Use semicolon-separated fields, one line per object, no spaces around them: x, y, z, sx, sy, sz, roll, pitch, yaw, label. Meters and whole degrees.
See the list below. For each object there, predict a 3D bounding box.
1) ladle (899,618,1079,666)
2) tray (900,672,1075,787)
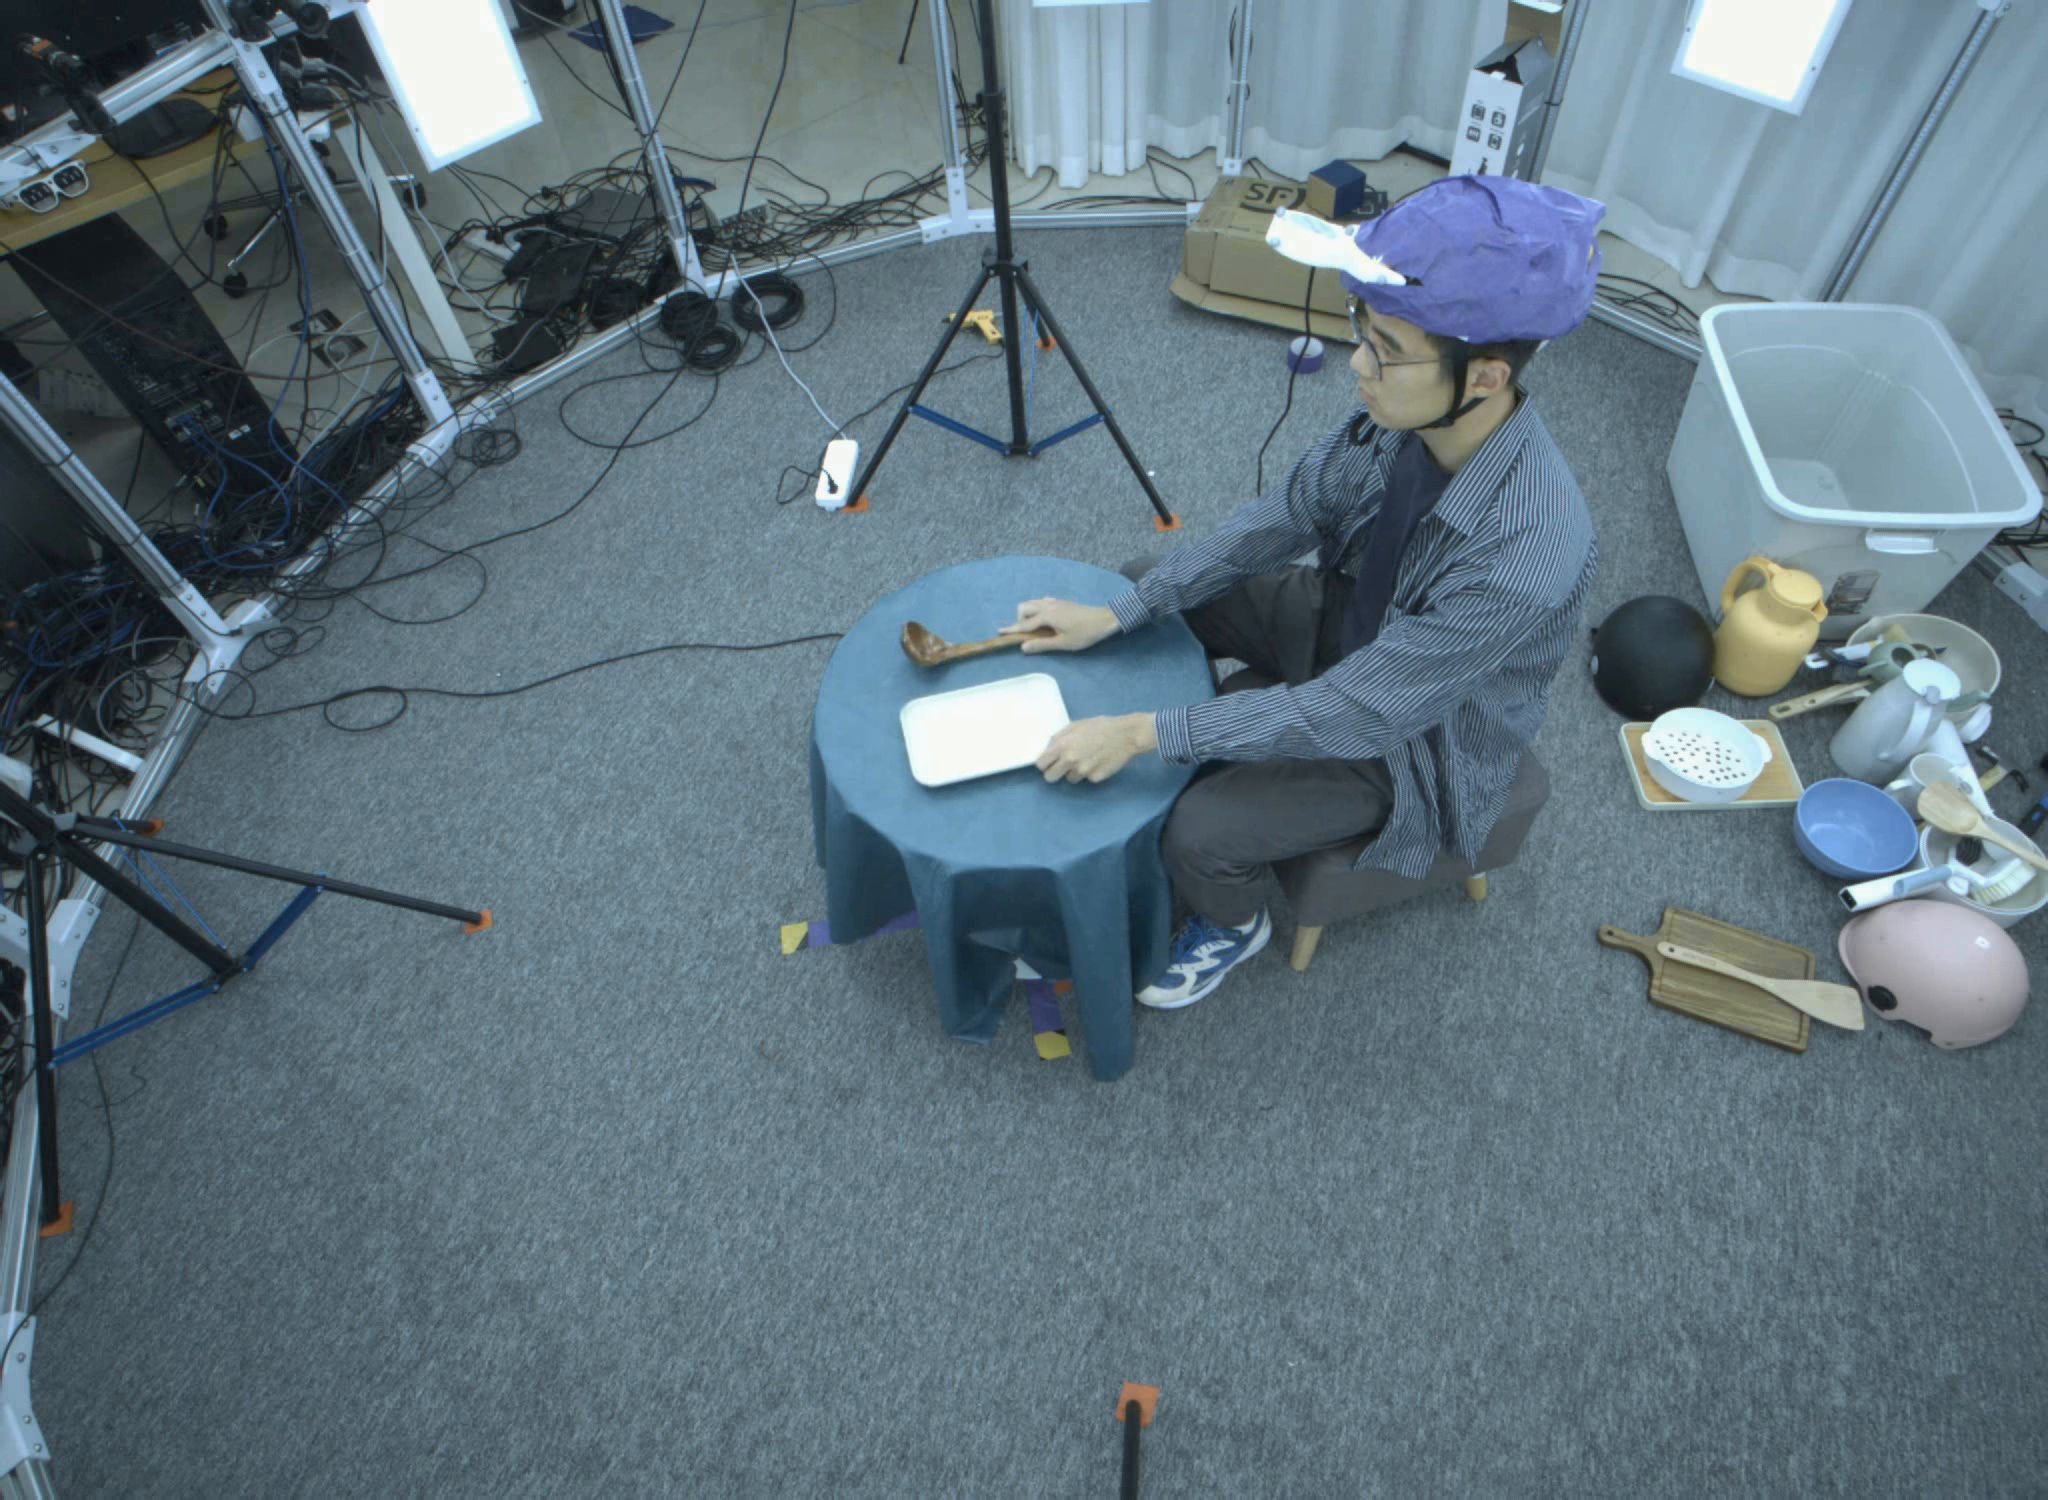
-0.053;-0.180;1.873;0.275;0.077;0.081;-9;56;-4;ladle
-0.054;-0.030;1.797;0.241;0.018;0.168;-12;51;-7;tray
